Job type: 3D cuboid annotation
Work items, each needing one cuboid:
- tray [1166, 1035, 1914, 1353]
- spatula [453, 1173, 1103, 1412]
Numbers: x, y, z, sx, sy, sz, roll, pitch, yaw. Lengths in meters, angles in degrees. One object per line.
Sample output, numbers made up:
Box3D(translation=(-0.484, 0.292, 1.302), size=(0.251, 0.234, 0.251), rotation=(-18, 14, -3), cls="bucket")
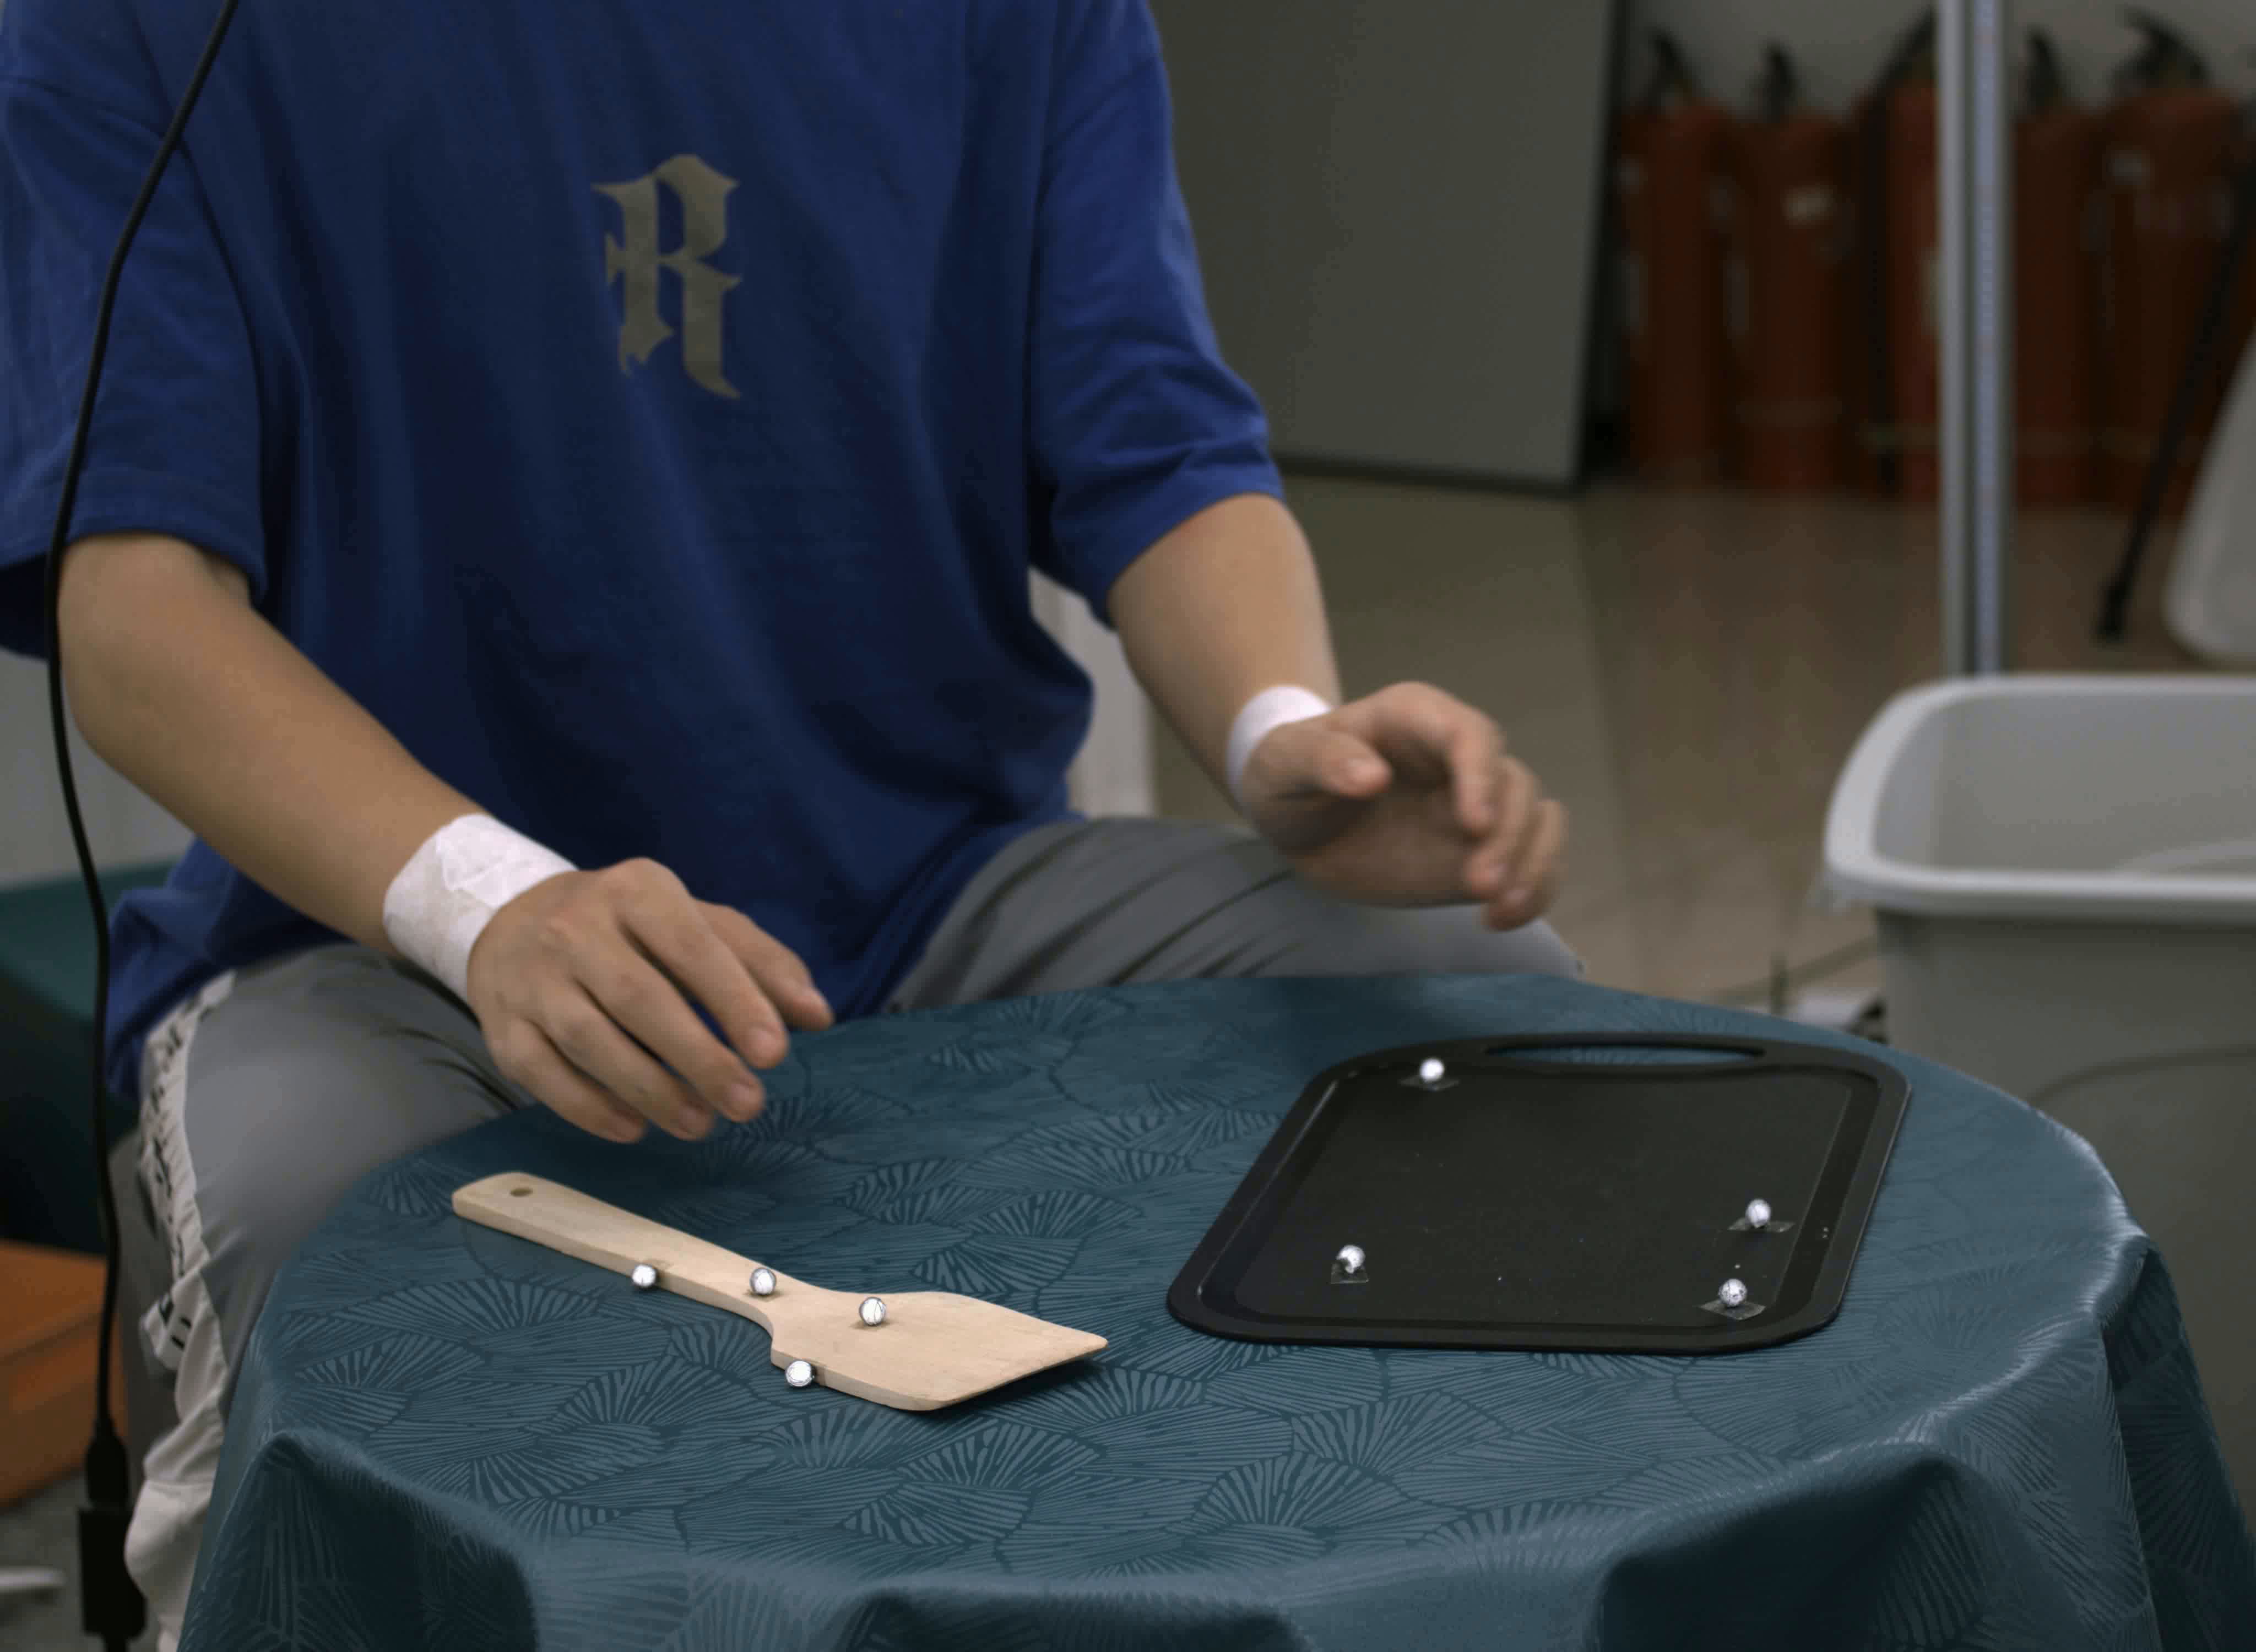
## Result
Box3D(translation=(0.141, 0.113, 1.749), size=(0.210, 0.010, 0.323), rotation=(0, 14, 15), cls="tray")
Box3D(translation=(-0.124, 0.143, 1.697), size=(0.071, 0.011, 0.296), rotation=(-17, 19, -37), cls="spatula")
